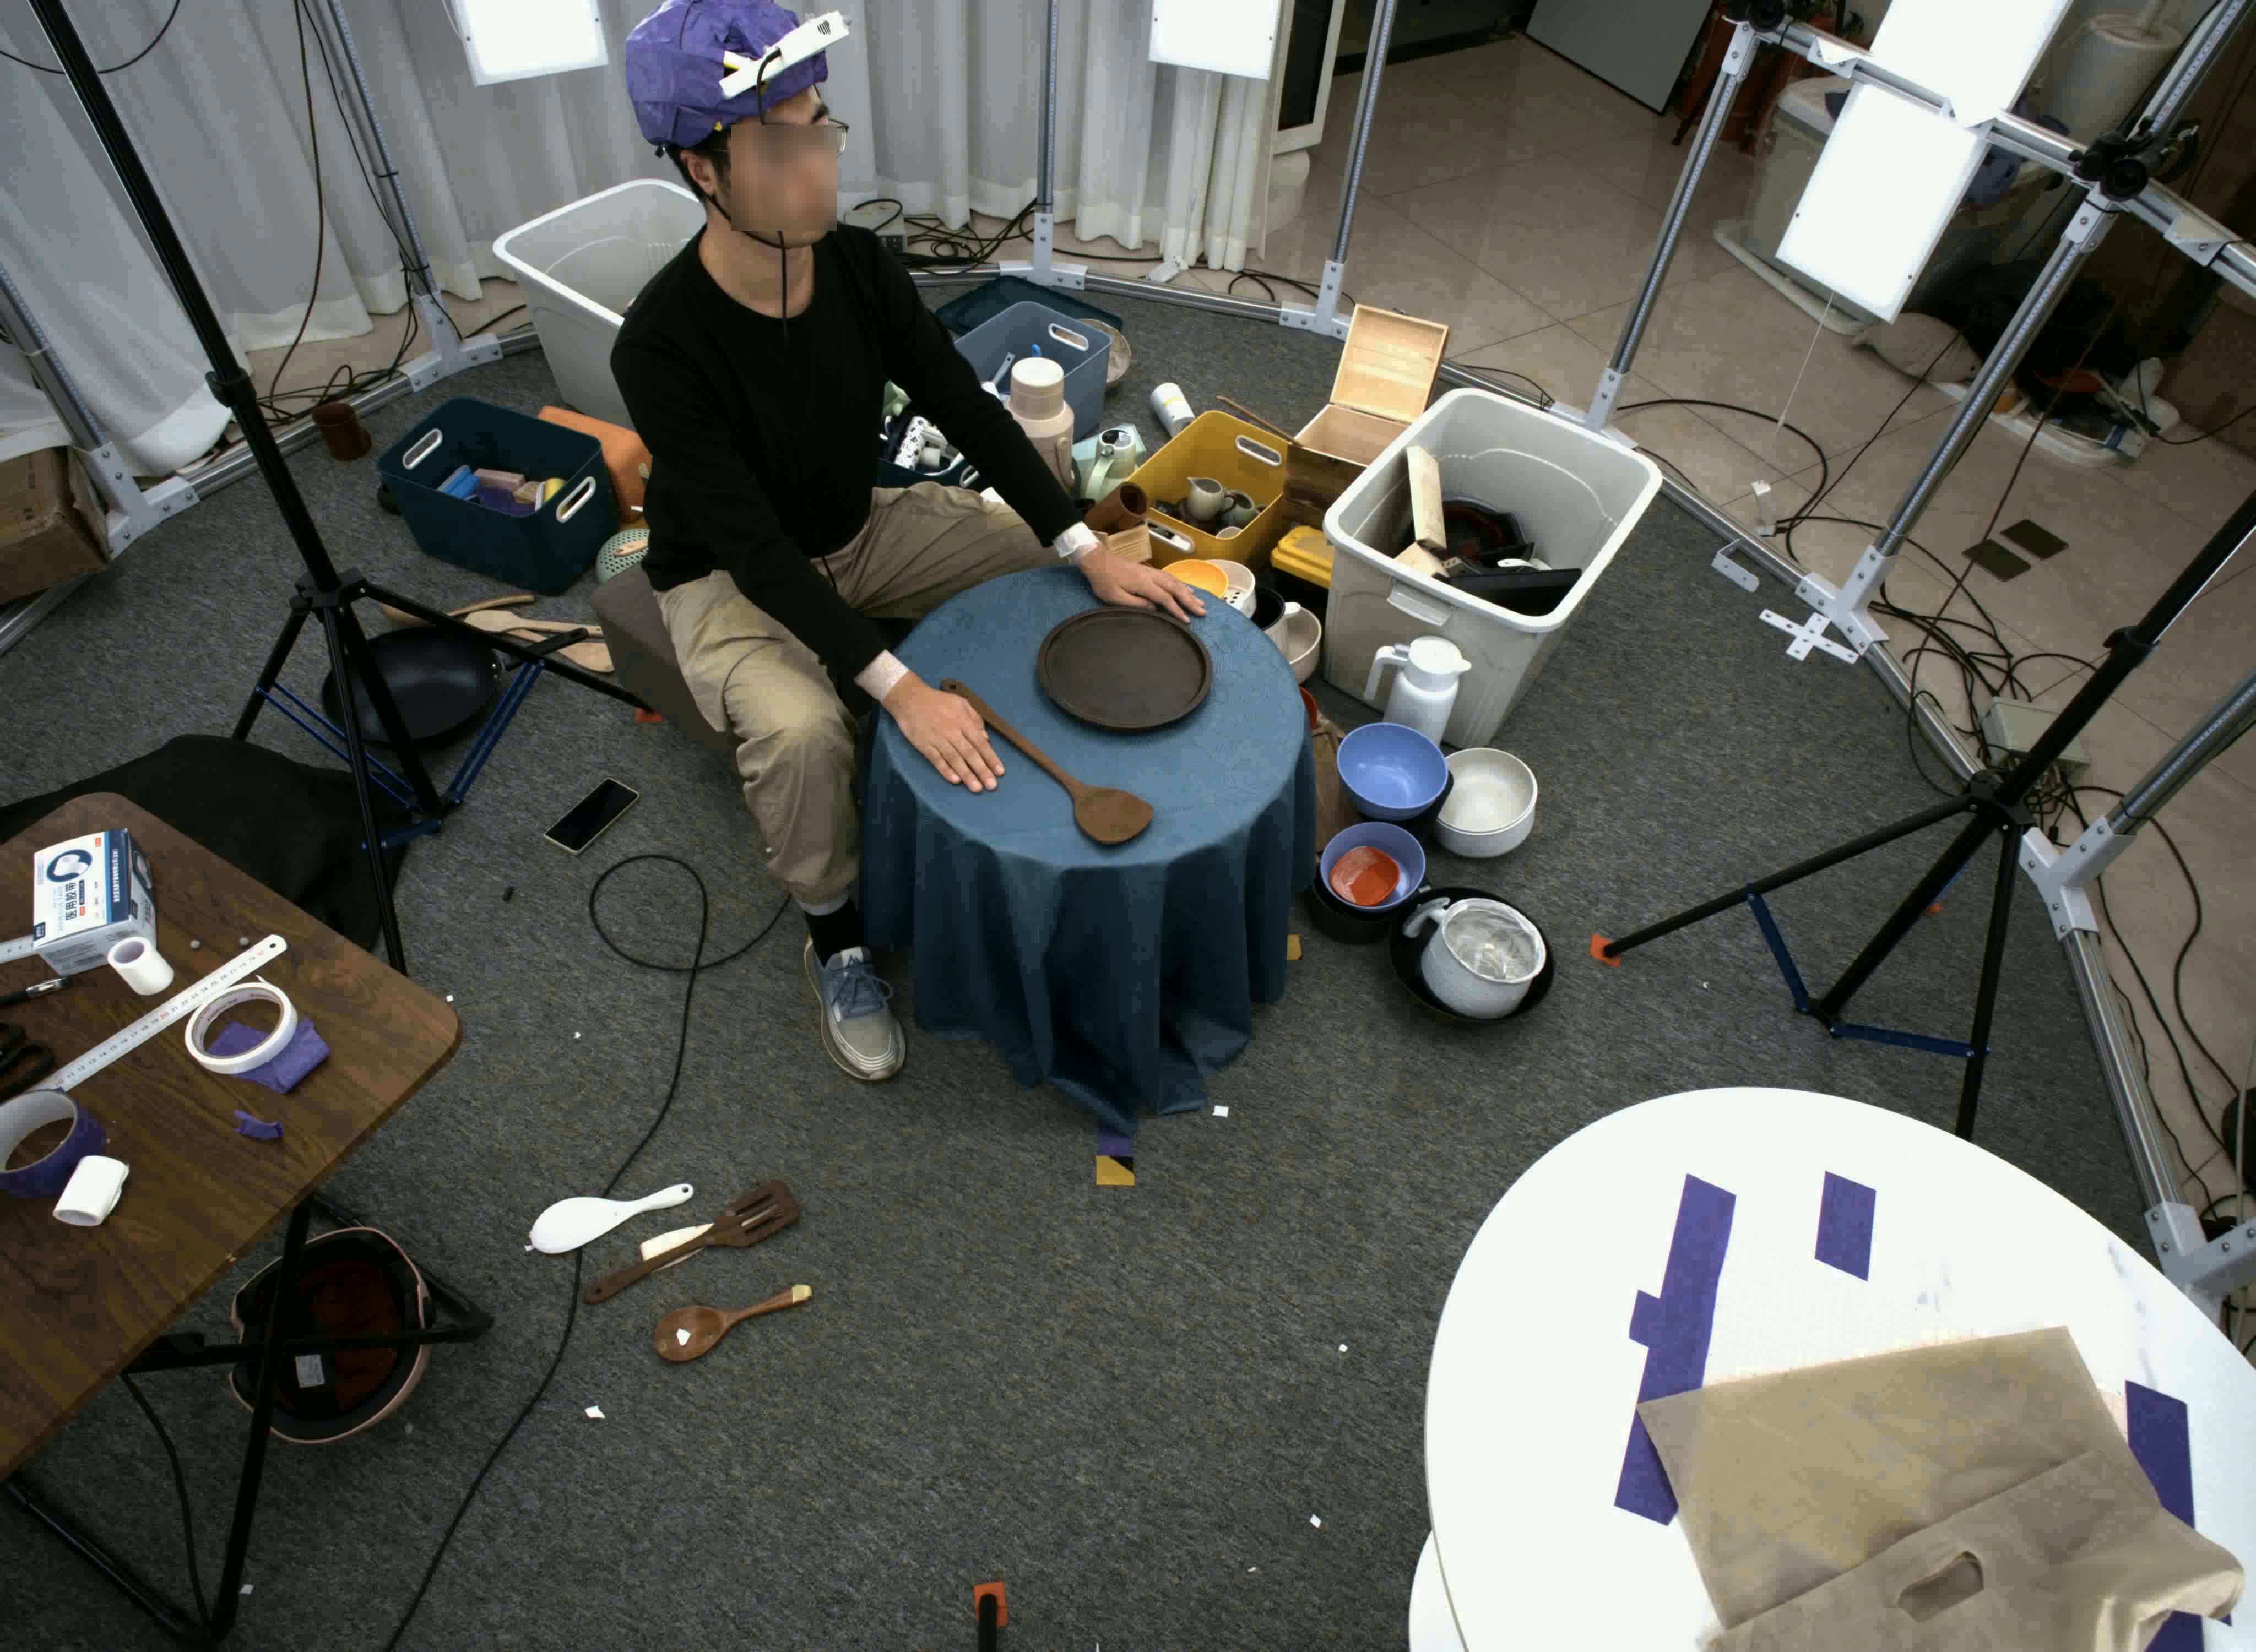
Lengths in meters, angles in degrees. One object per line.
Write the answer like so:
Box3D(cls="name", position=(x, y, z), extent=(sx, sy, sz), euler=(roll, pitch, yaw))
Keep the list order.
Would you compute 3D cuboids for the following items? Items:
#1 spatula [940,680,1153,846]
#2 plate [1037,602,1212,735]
Box3D(cls="spatula", position=(-0.126, -0.097, 1.736), extent=(0.097, 0.015, 0.392), euler=(-35, 59, -30))
Box3D(cls="plate", position=(-0.005, -0.226, 1.851), extent=(0.254, 0.028, 0.261), euler=(2, 50, -2))
